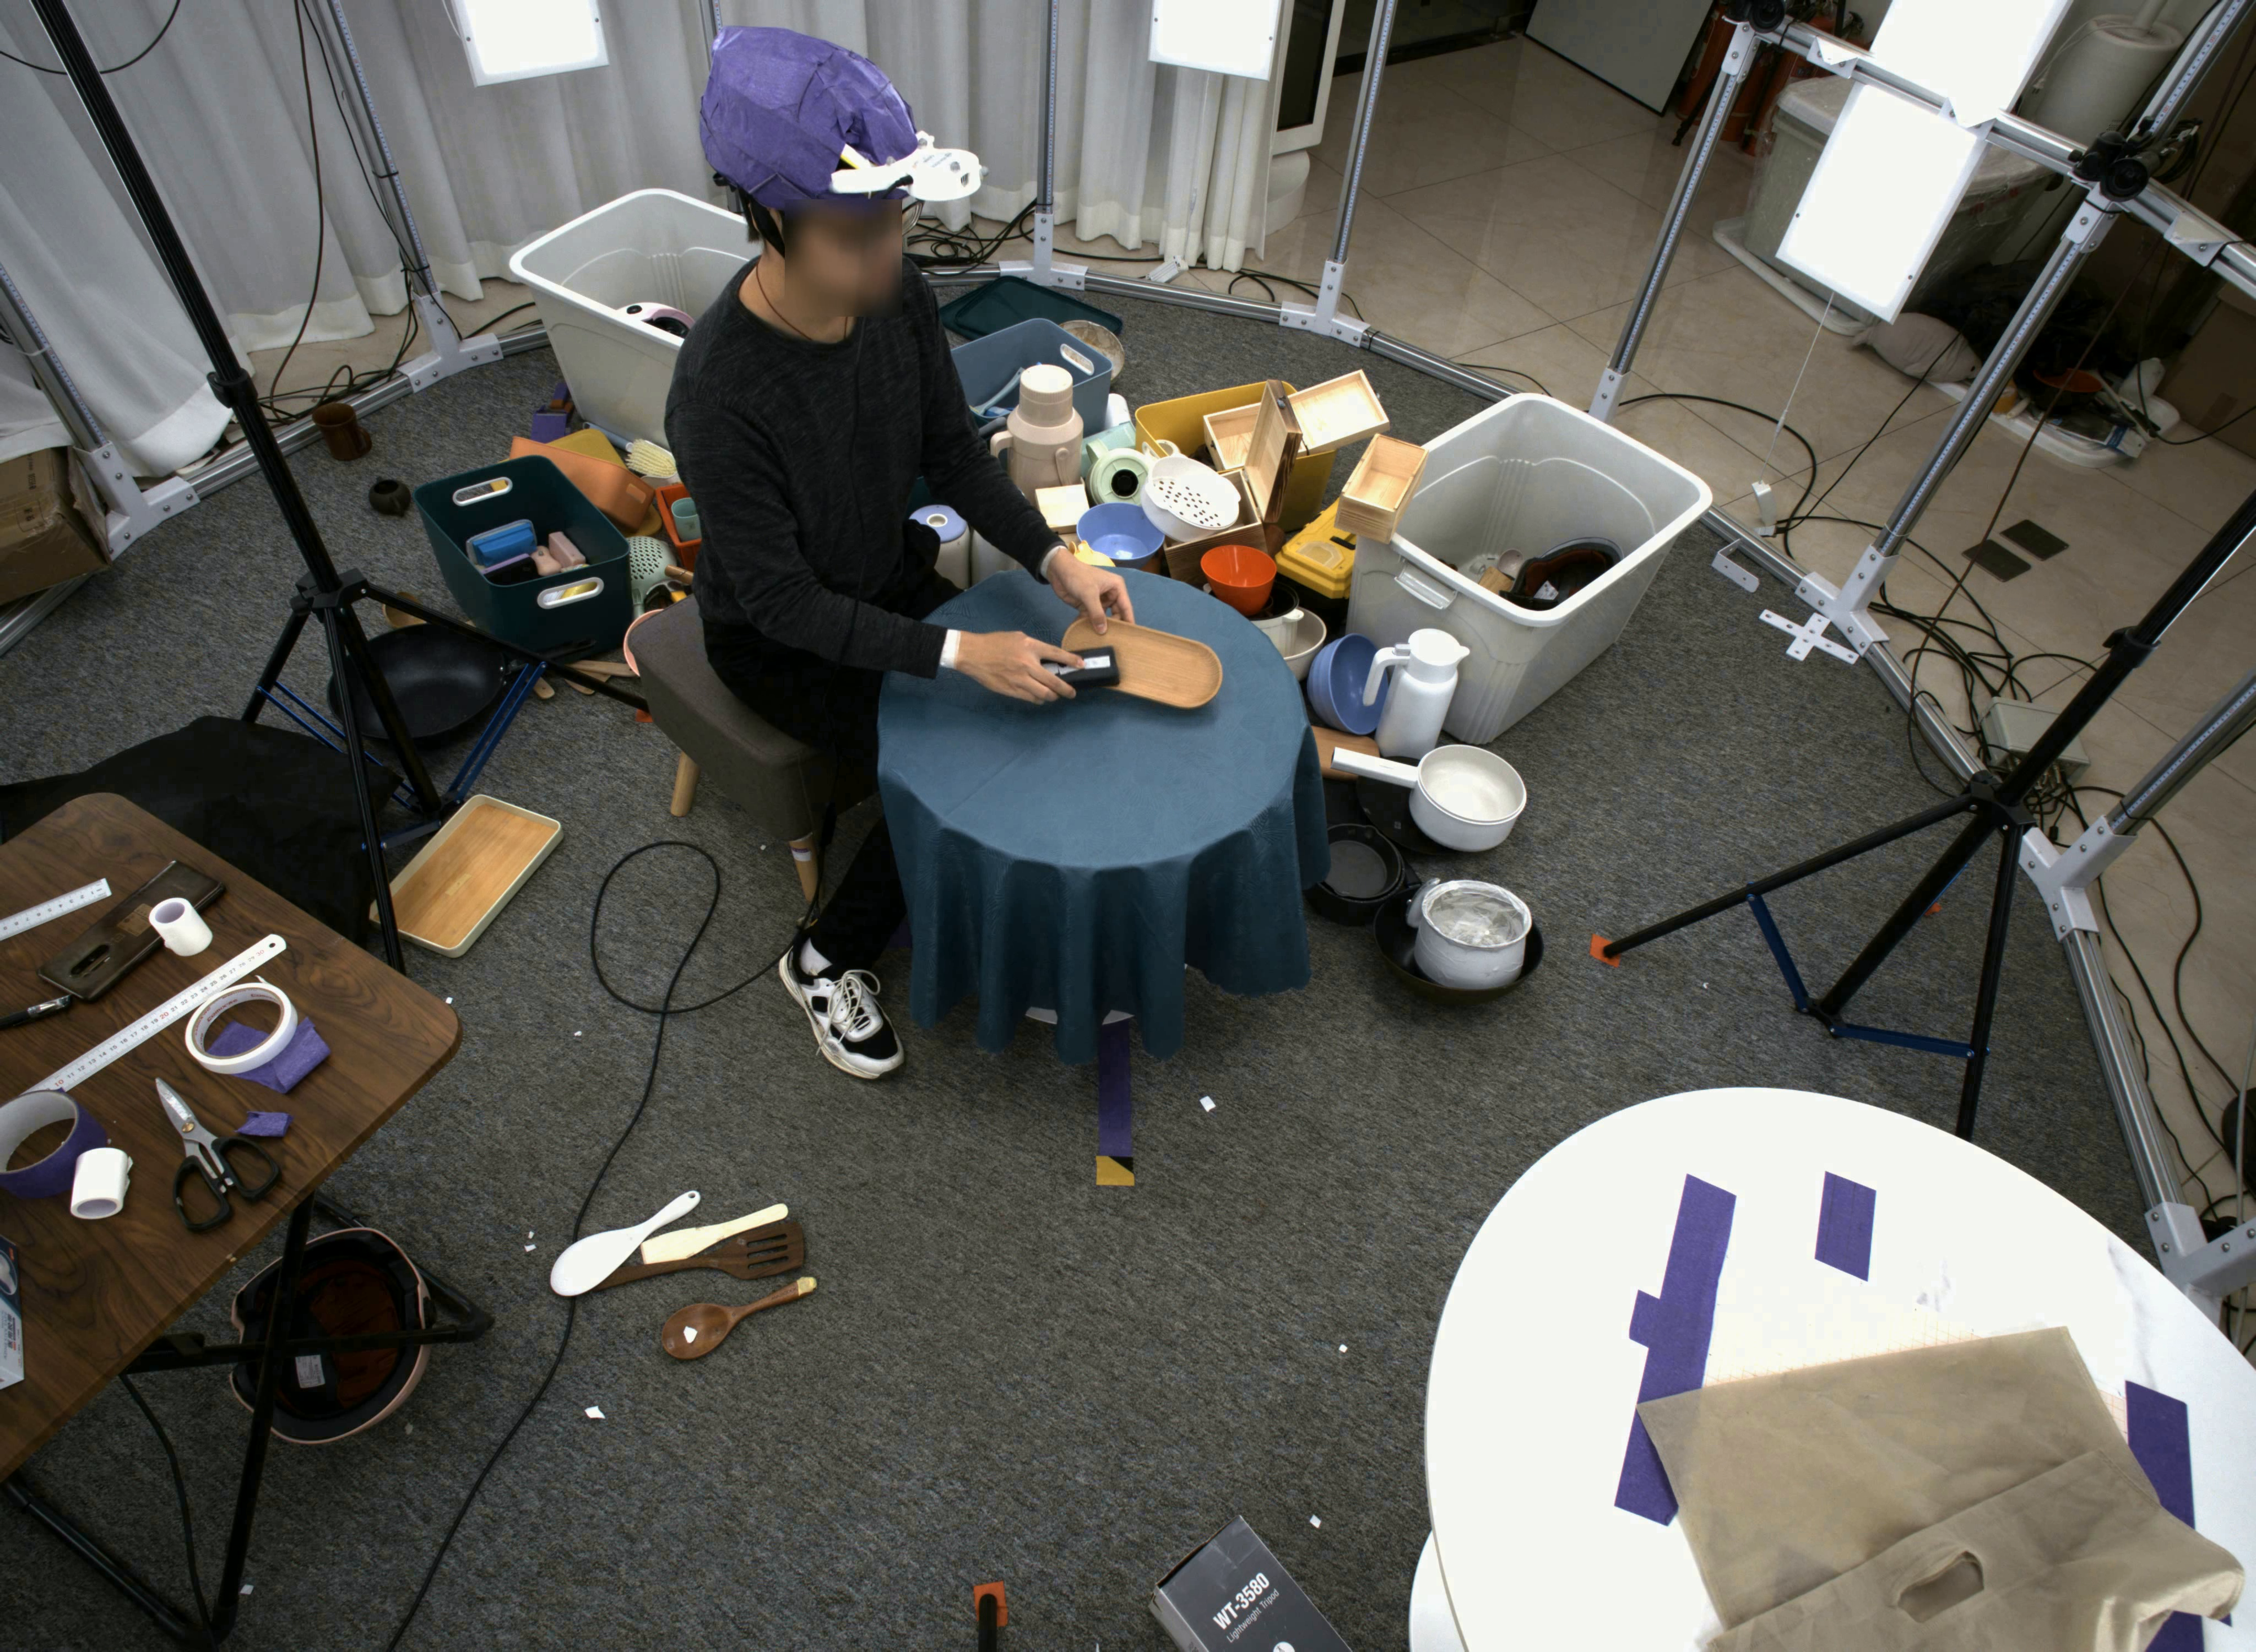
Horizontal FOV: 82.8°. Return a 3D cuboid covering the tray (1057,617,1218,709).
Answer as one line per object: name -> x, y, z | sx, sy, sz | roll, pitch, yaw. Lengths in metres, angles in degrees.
tray -> 0.014, -0.230, 1.812 | 0.231, 0.020, 0.103 | 15, 74, 5

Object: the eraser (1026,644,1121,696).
eraser -> -0.076, -0.218, 1.785 | 0.125, 0.030, 0.054 | -10, 66, -10
